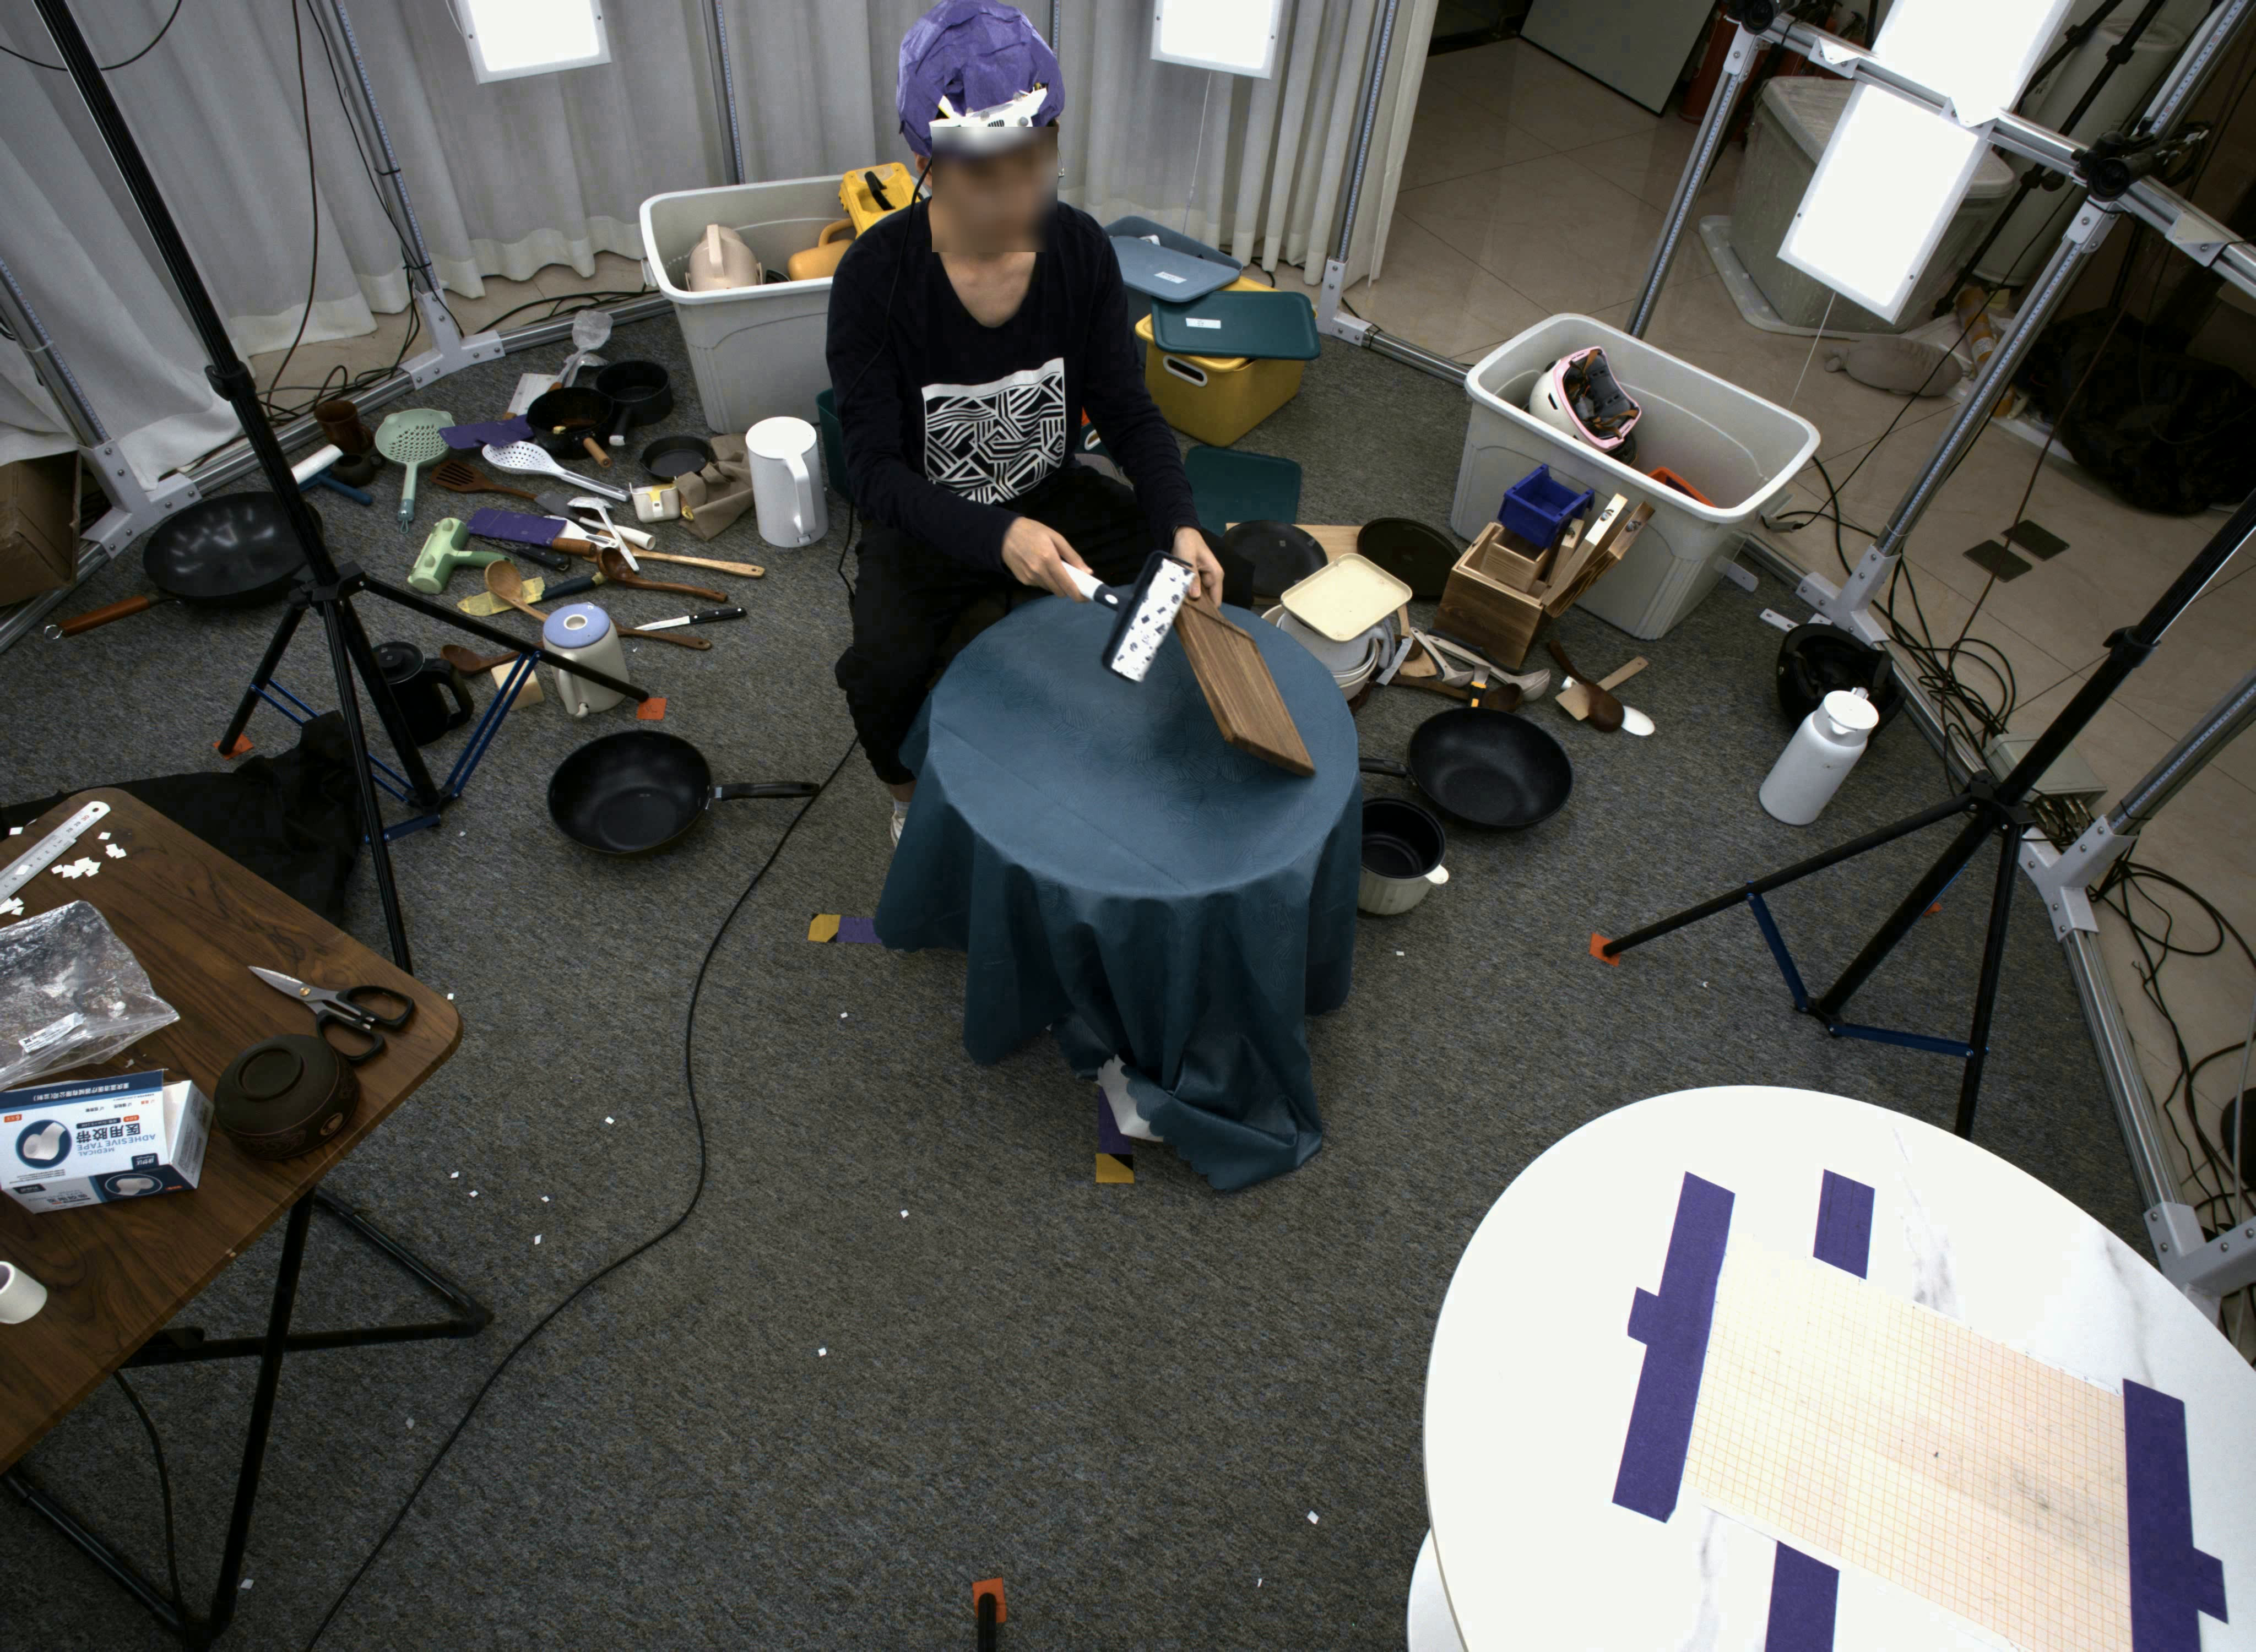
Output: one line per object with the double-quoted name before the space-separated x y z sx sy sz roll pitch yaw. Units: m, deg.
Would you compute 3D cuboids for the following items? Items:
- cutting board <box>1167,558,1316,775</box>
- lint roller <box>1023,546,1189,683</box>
"cutting board" 0.134 -0.233 1.757 0.198 0.023 0.360 17 43 -48
"lint roller" -0.052 -0.322 1.743 0.250 0.175 0.050 31 12 25
